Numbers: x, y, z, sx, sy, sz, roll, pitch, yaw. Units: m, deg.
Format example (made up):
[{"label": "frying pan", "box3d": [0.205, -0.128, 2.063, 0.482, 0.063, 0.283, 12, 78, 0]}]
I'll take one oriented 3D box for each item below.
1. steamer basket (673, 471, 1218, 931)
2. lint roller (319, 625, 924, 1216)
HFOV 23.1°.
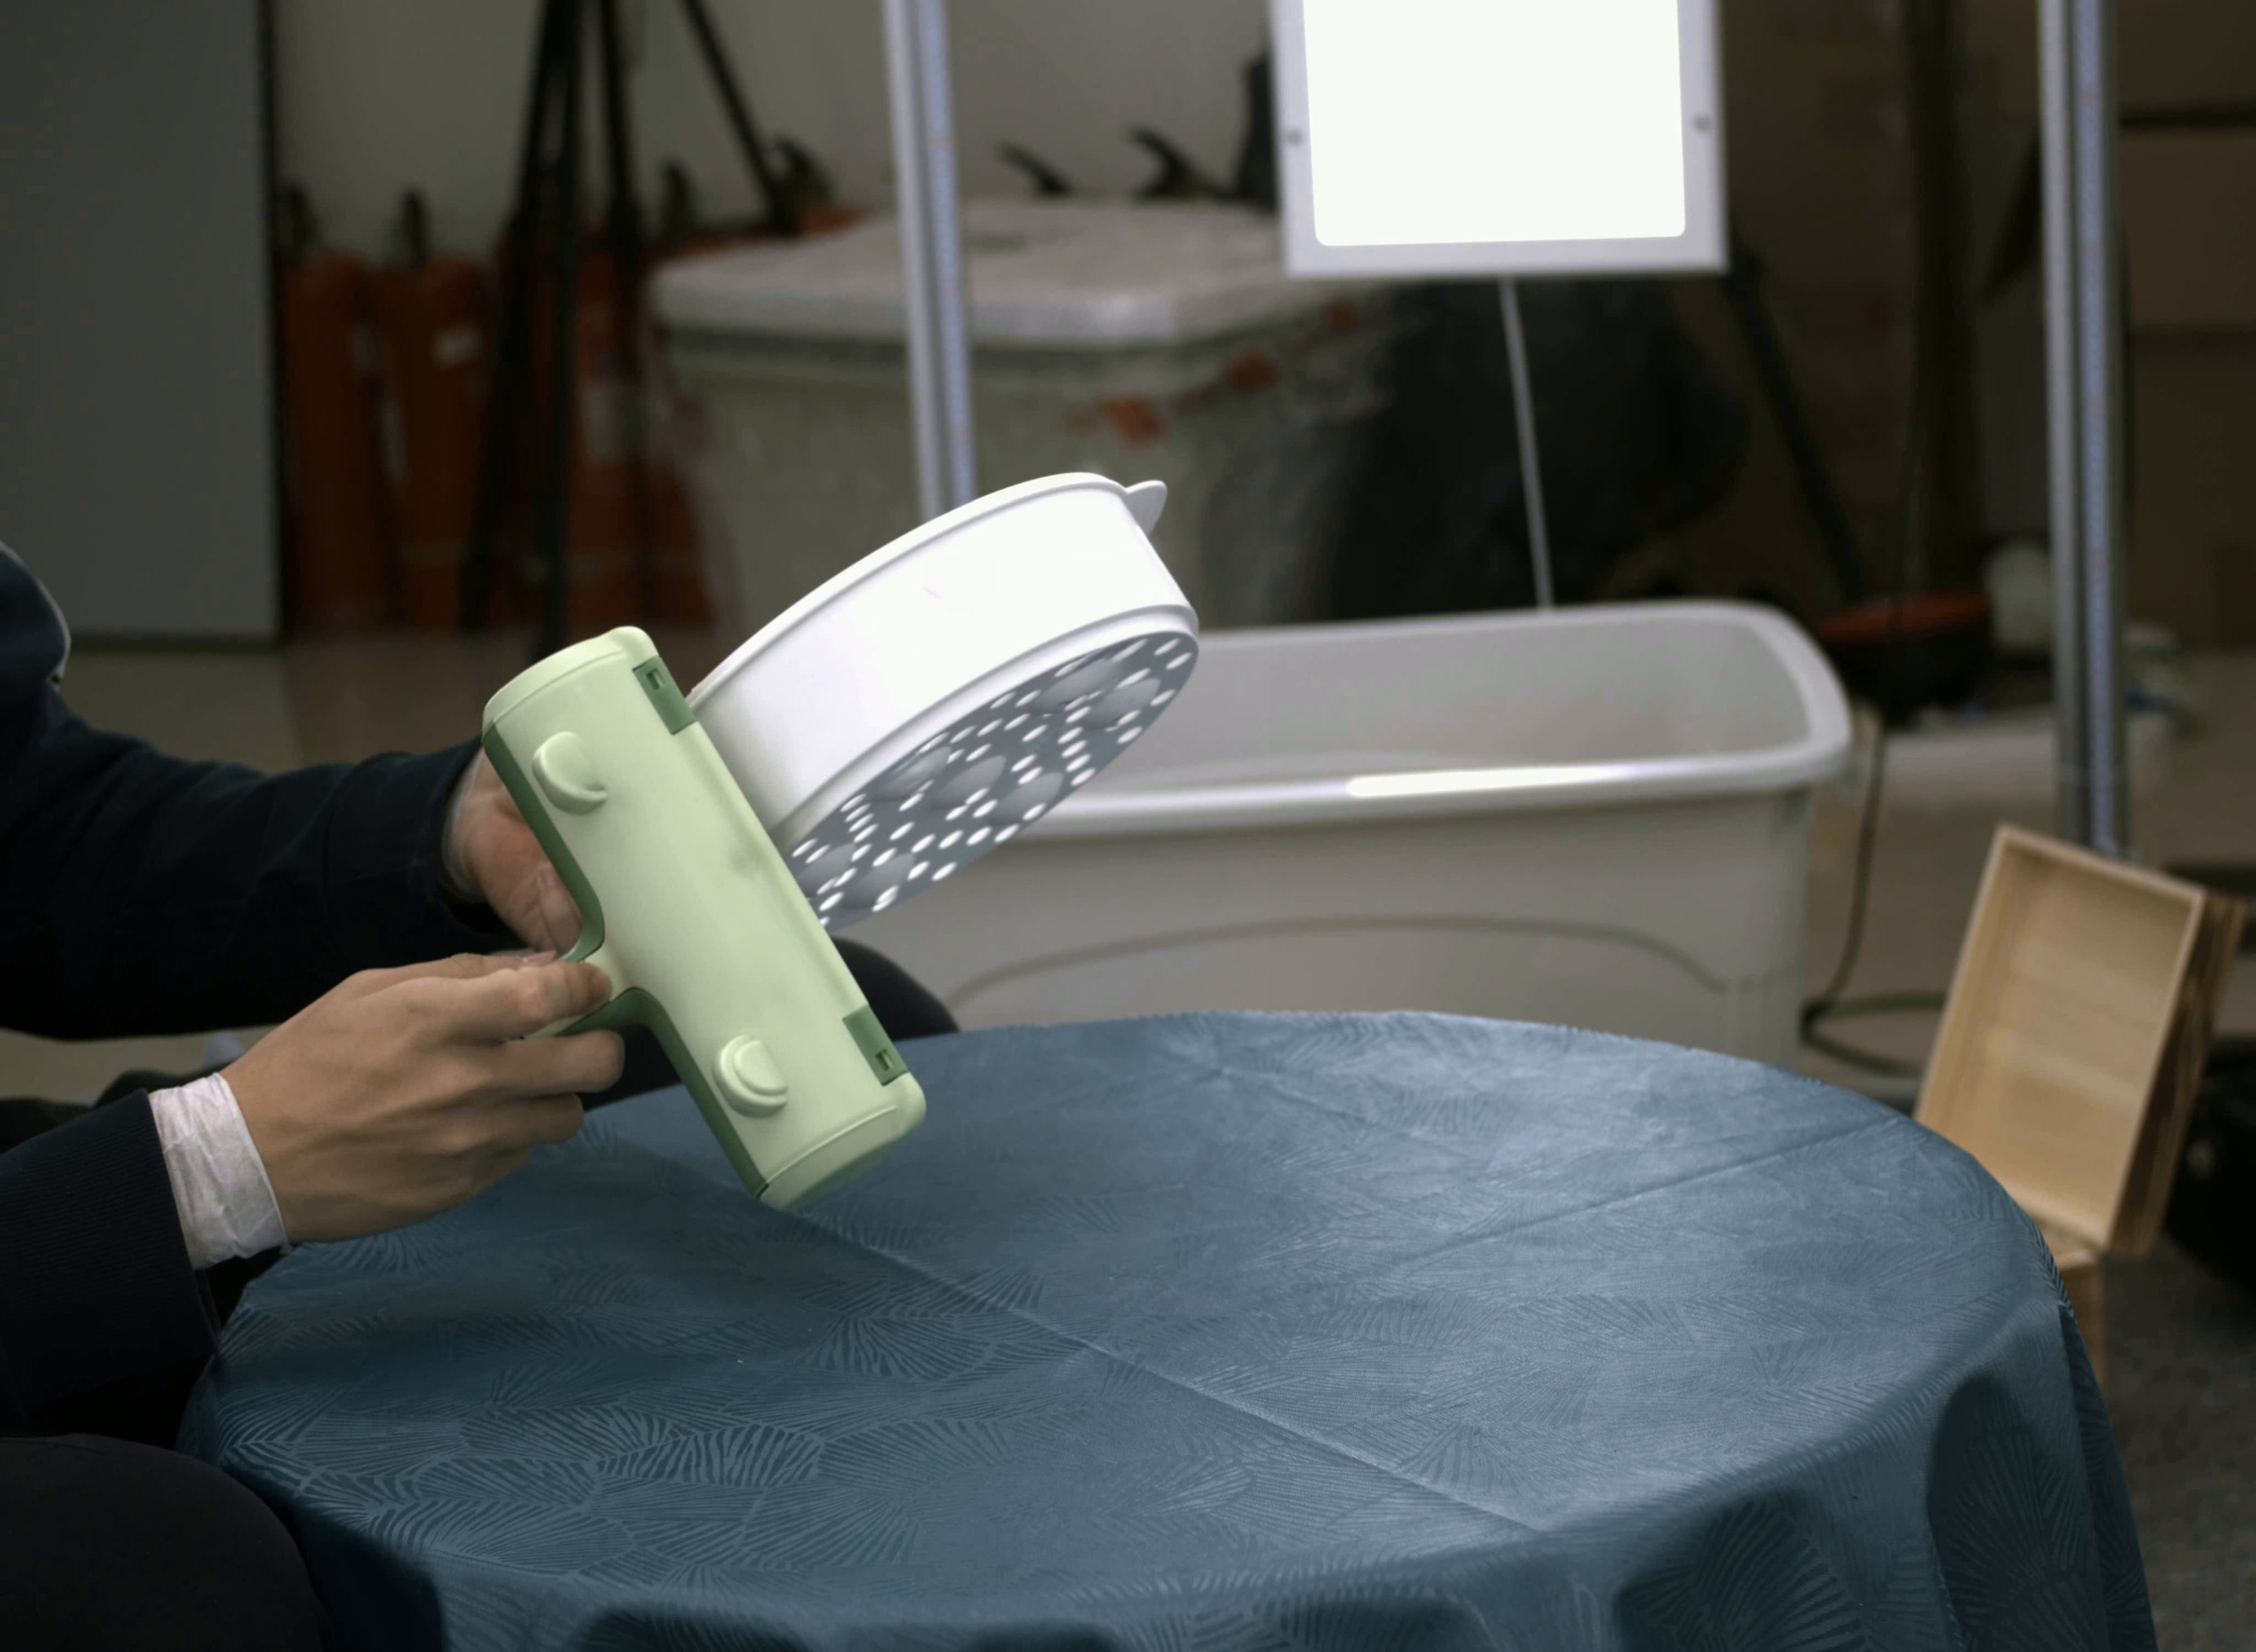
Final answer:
[{"label": "steamer basket", "box3d": [-0.065, -0.038, 1.885, 0.227, 0.069, 0.204, -27, -14, -17]}, {"label": "lint roller", "box3d": [-0.190, 0.060, 1.793, 0.183, 0.199, 0.082, -32, -10, 1]}]
